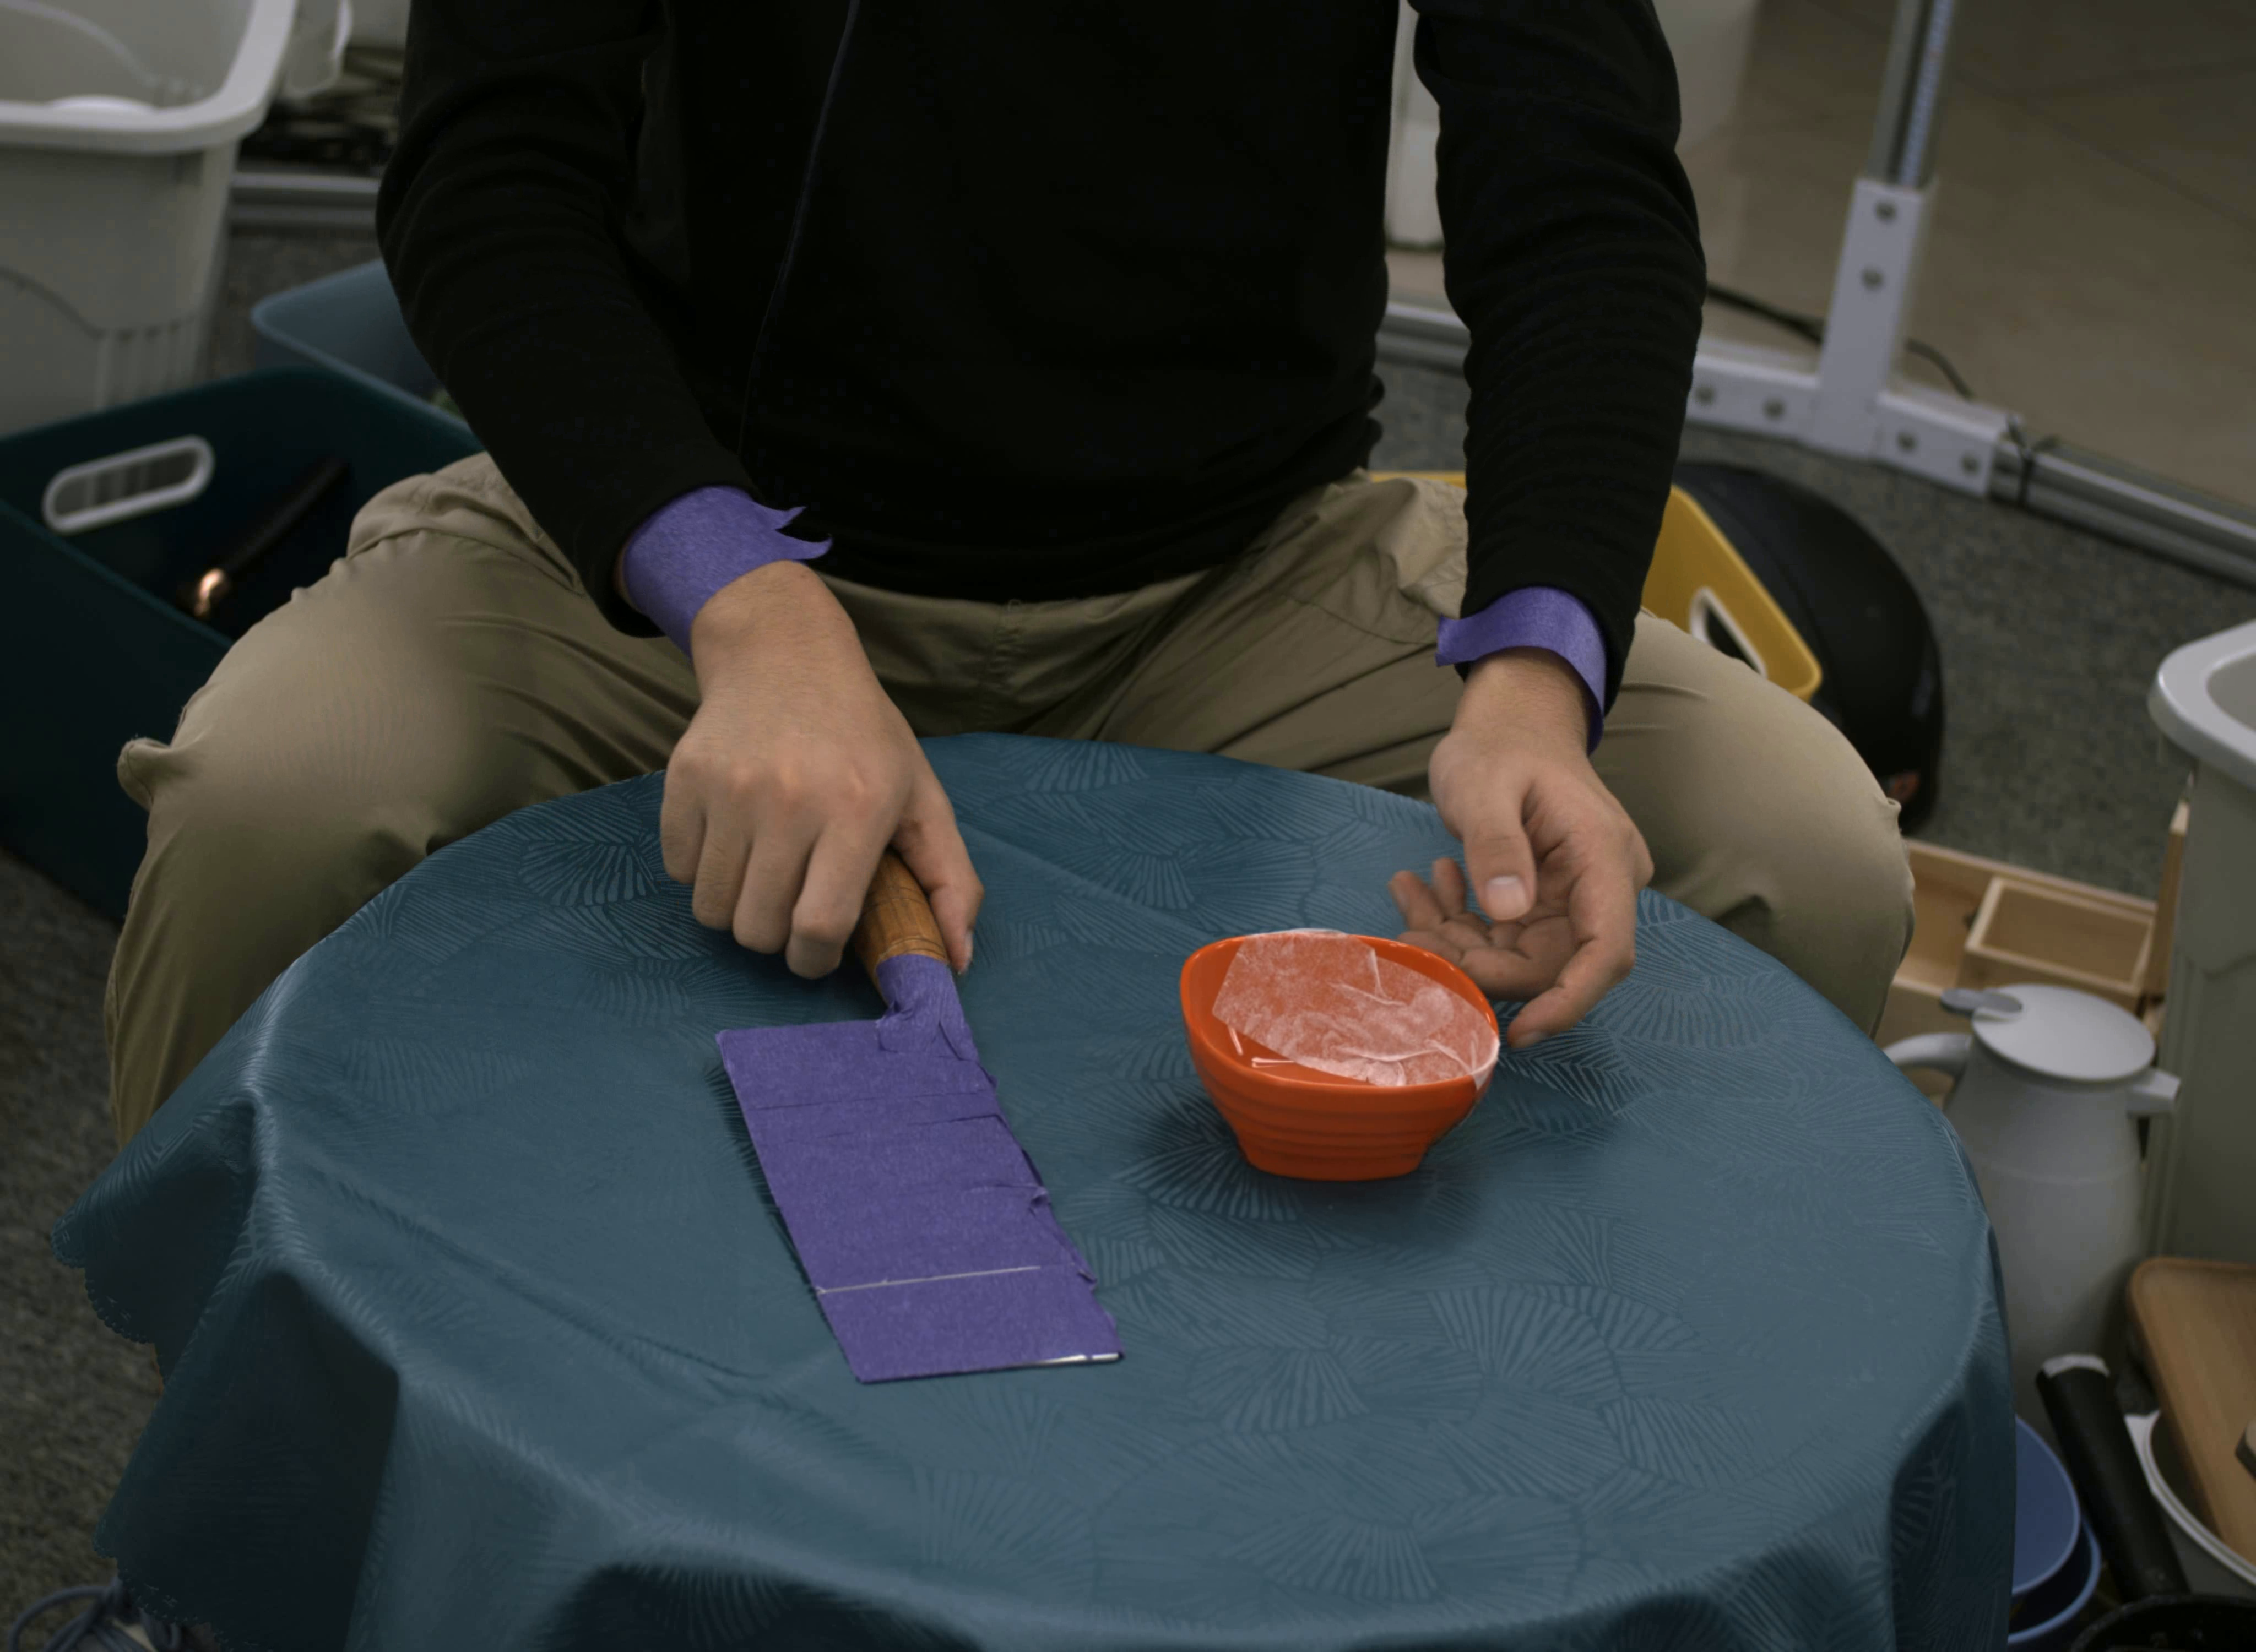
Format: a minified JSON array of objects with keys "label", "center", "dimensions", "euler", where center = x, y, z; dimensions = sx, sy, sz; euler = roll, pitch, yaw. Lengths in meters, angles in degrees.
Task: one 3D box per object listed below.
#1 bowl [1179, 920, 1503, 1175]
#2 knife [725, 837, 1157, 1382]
[{"label":"bowl","center":[0.071,0.081,1.842],"dimensions":[0.118,0.051,0.120],"euler":[4,30,-3]},{"label":"knife","center":[-0.084,0.092,1.820],"dimensions":[0.103,0.032,0.318],"euler":[-3,29,-18]}]
